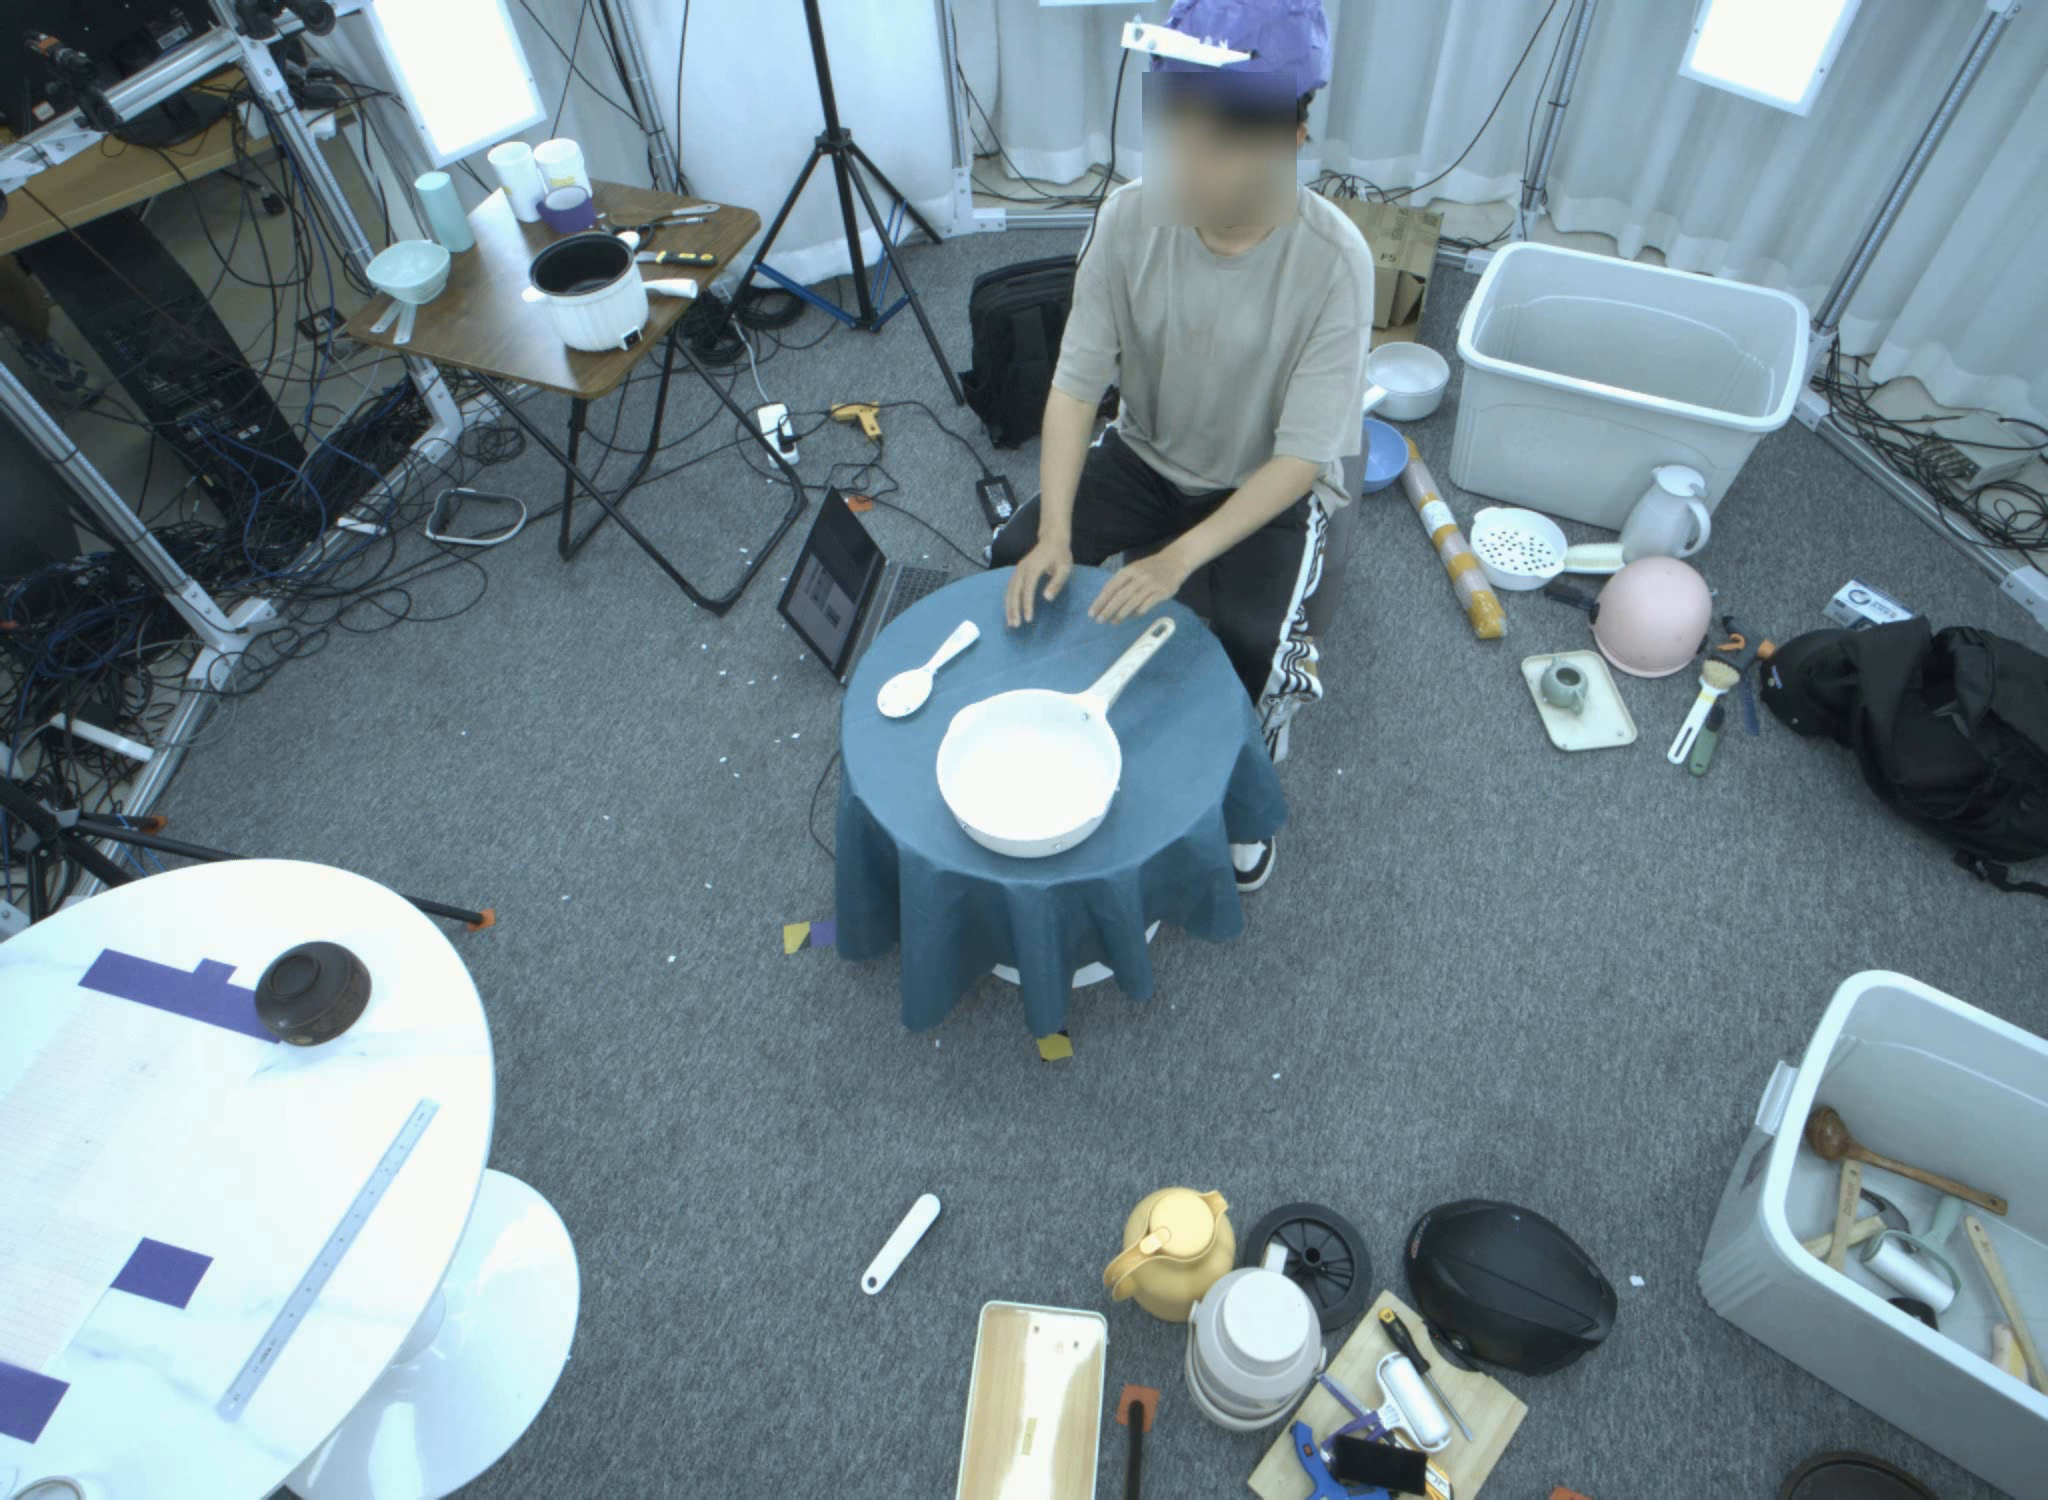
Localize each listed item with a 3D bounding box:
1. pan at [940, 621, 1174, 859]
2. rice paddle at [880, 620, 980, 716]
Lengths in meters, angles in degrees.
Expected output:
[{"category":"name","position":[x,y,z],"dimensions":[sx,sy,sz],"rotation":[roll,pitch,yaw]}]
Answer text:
[{"category":"pan","position":[0.074,-0.020,1.739],"dimensions":[0.258,0.103,0.437],"rotation":[34,62,25]},{"category":"rice paddle","position":[-0.142,-0.123,1.858],"dimensions":[0.067,0.030,0.206],"rotation":[30,61,24]}]
